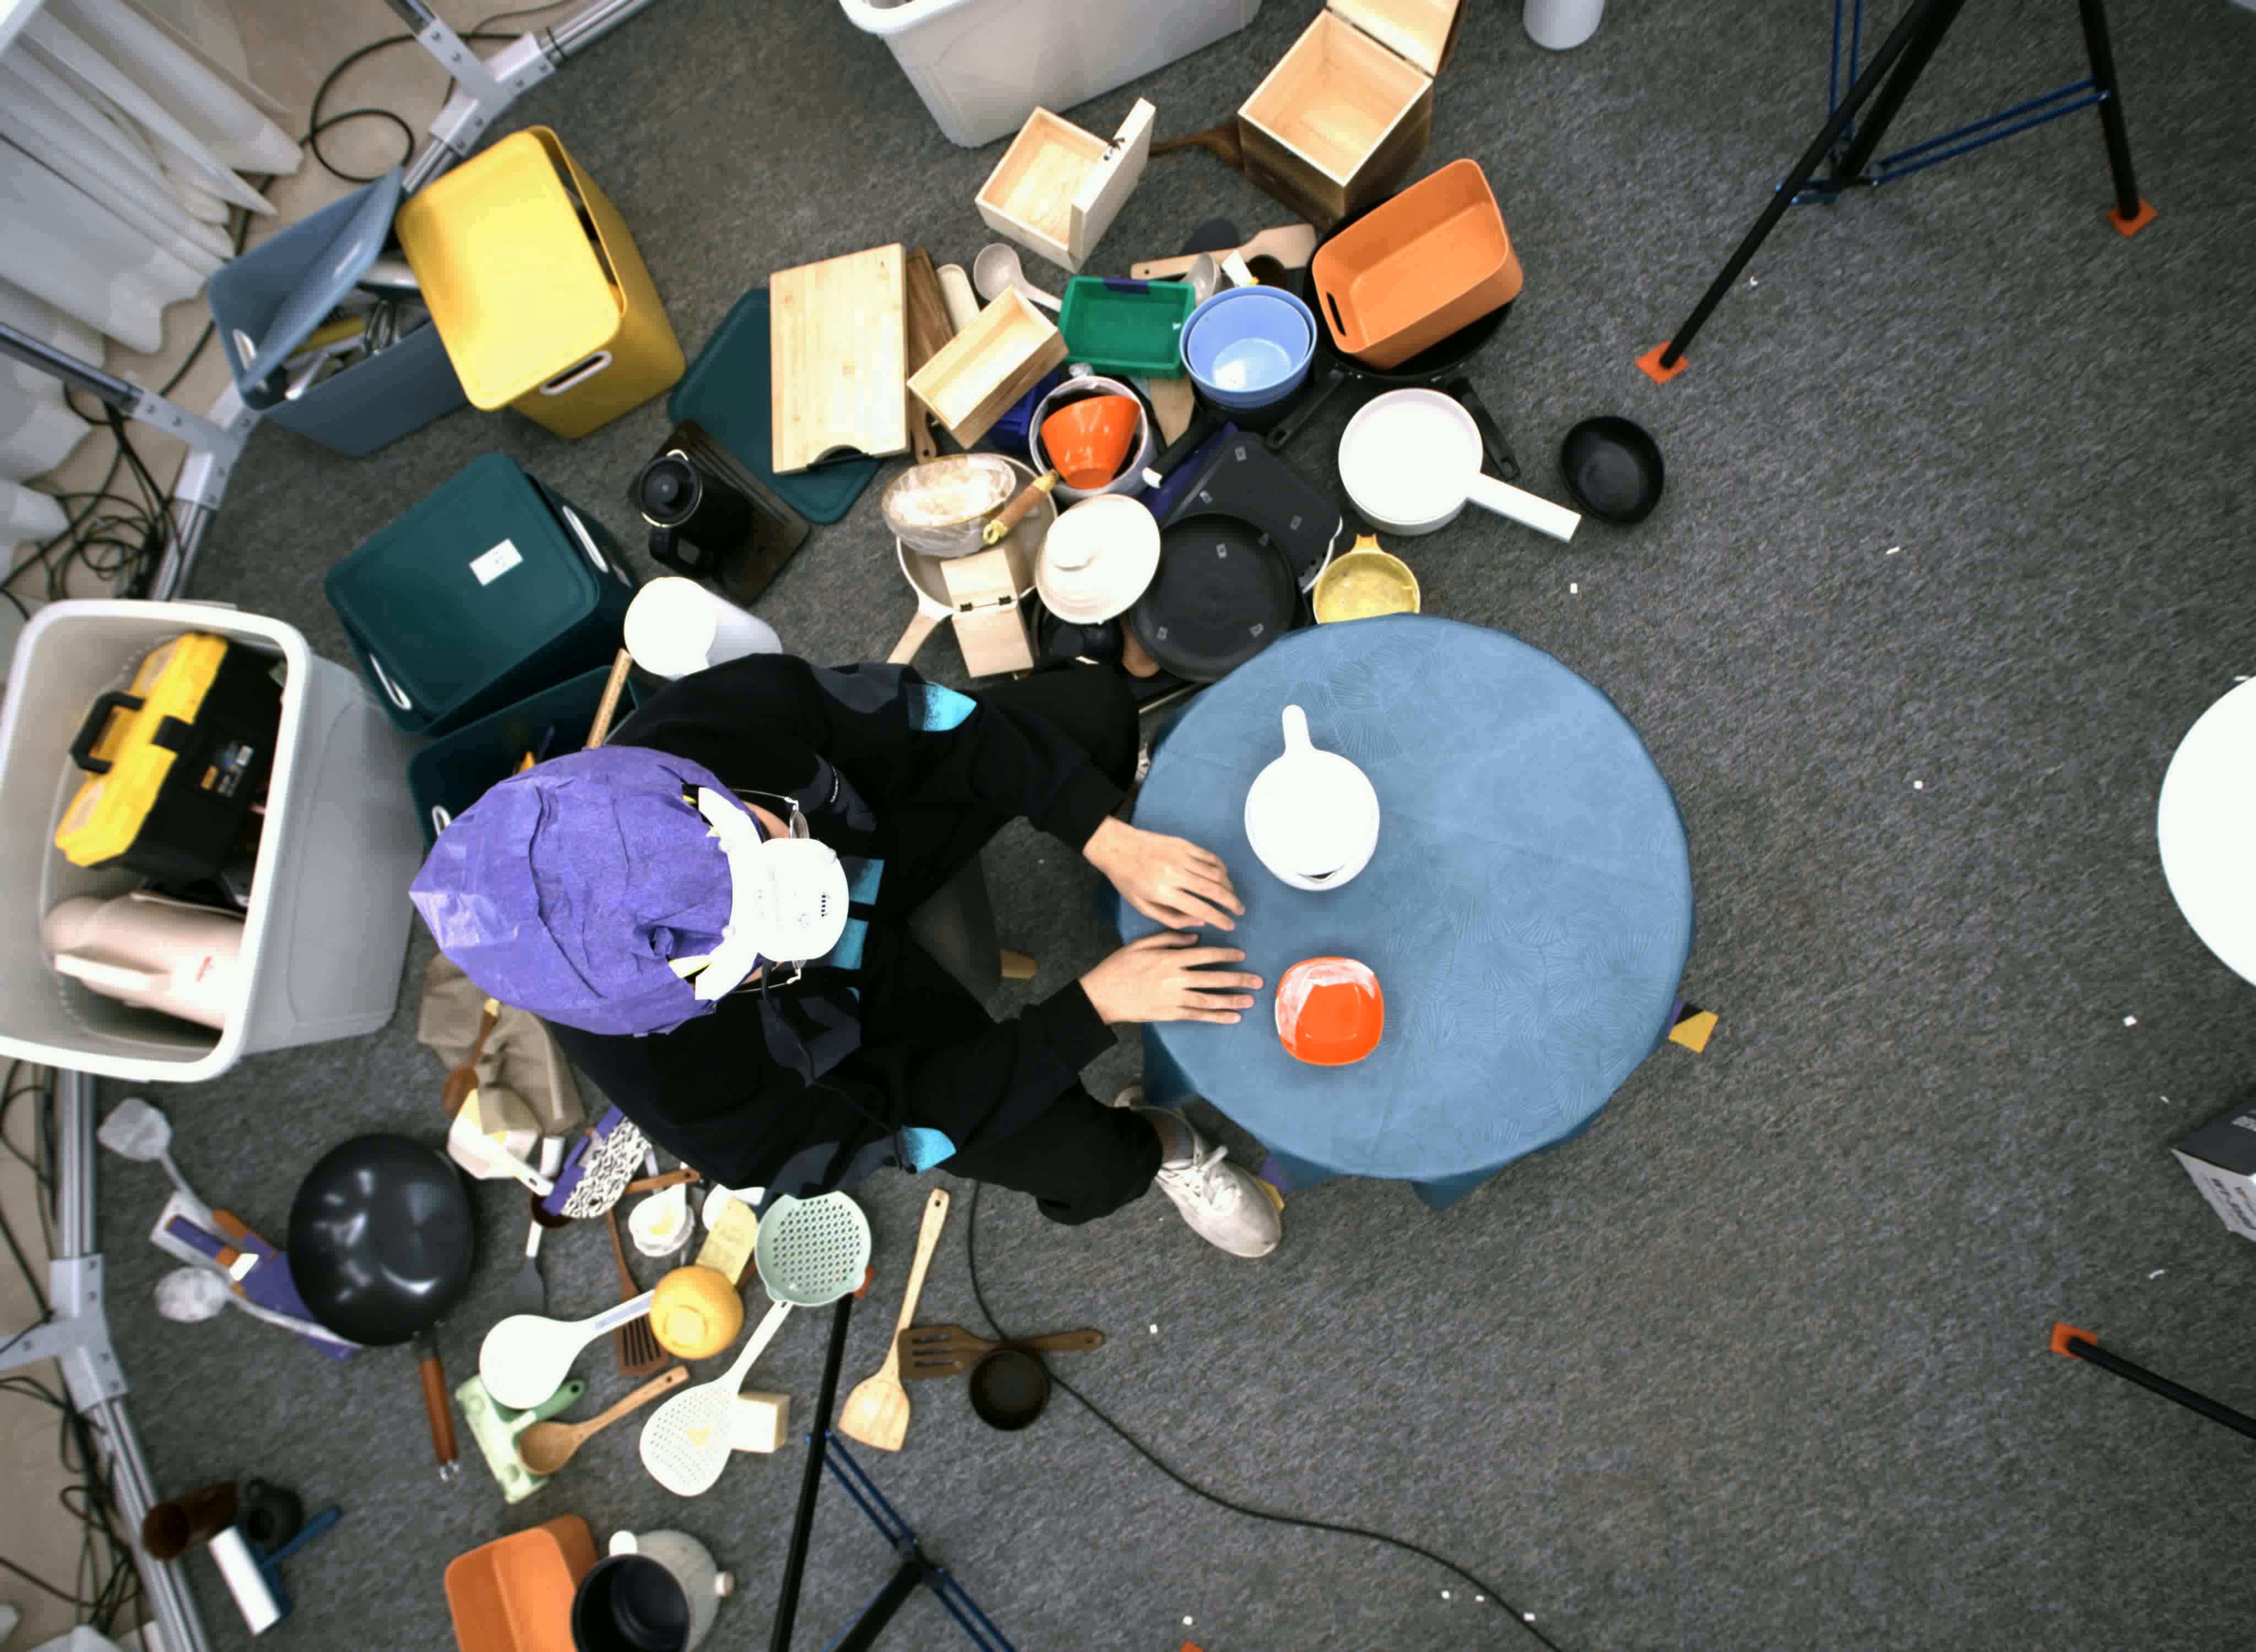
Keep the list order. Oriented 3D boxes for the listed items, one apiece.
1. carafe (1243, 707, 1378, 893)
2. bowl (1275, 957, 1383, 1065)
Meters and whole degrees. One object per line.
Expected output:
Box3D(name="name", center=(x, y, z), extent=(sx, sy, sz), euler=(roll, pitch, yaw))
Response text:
Box3D(name="carafe", center=(0.180, -0.028, 1.391), extent=(0.133, 0.183, 0.189), euler=(-13, 81, 7))
Box3D(name="bowl", center=(0.208, 0.189, 1.434), extent=(0.119, 0.051, 0.118), euler=(0, 88, 8))
